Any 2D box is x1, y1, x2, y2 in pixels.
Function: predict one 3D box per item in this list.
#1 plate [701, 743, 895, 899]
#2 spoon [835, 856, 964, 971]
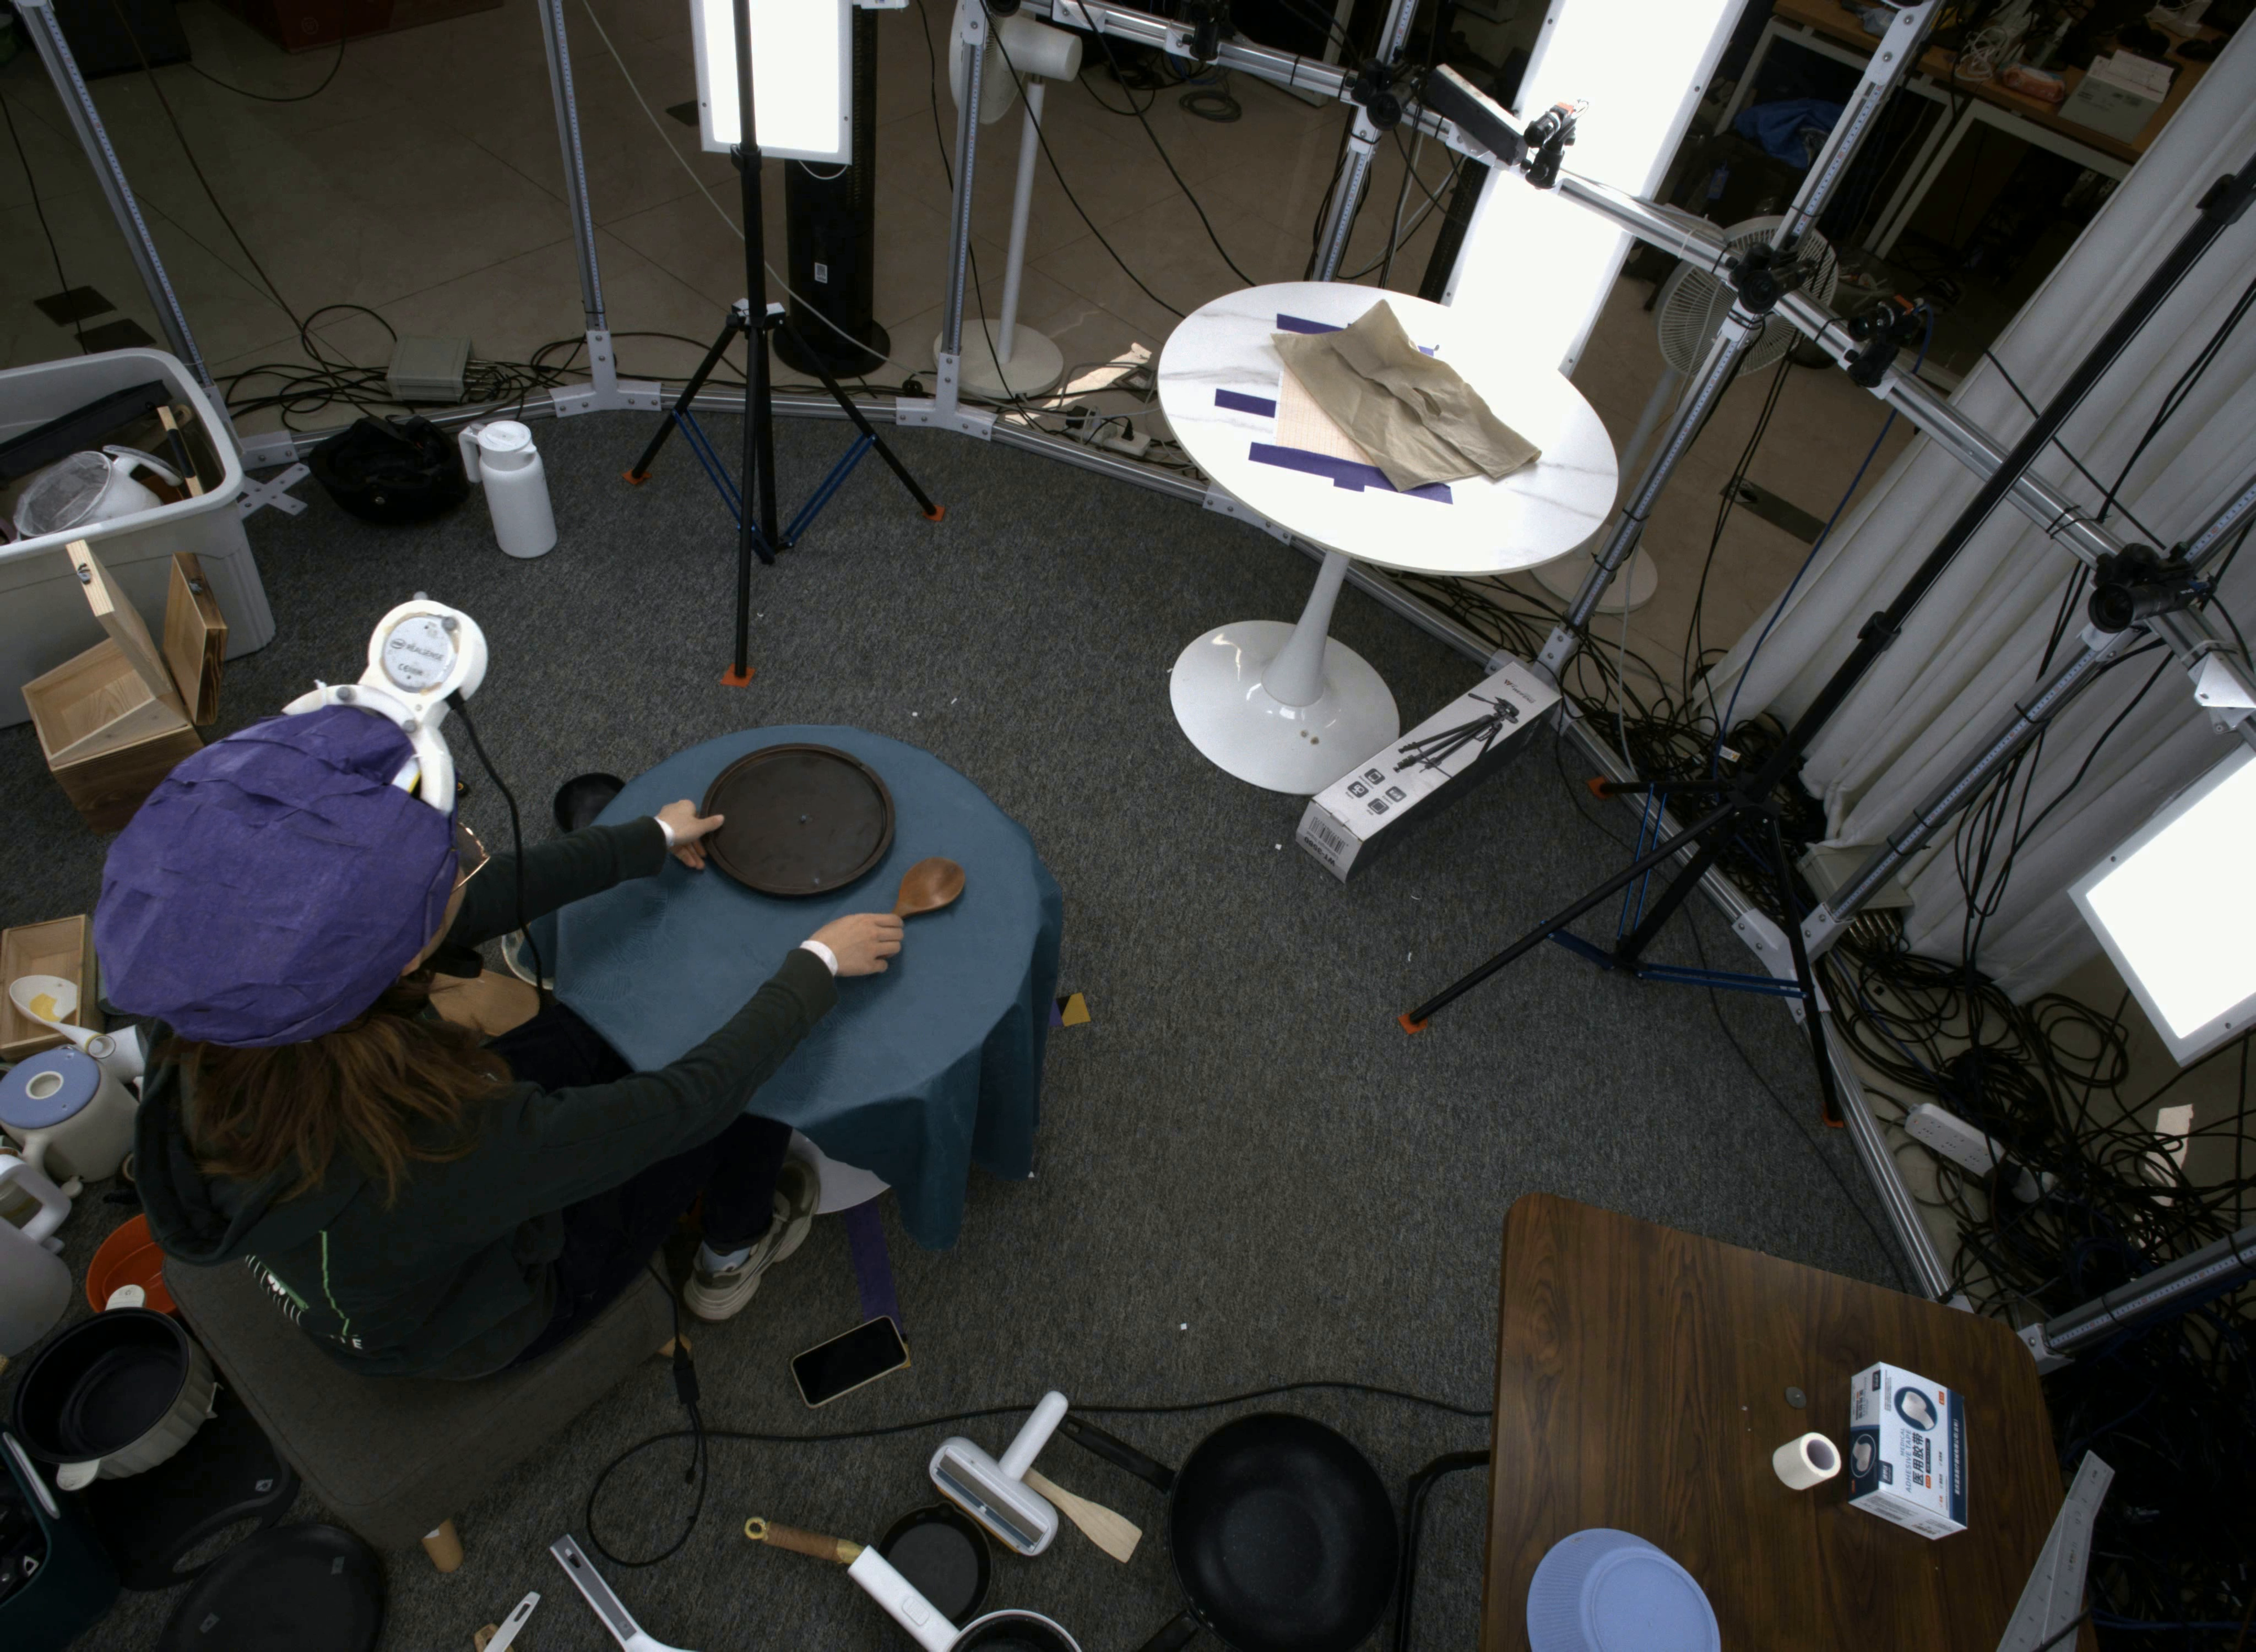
[{"bbox_3d":[-0.436,-0.009,1.719,0.254,0.029,0.250,8,51,-8],"label":"plate"},{"bbox_3d":[-0.295,0.111,1.669,0.074,0.017,0.216,37,54,13],"label":"spoon"}]
